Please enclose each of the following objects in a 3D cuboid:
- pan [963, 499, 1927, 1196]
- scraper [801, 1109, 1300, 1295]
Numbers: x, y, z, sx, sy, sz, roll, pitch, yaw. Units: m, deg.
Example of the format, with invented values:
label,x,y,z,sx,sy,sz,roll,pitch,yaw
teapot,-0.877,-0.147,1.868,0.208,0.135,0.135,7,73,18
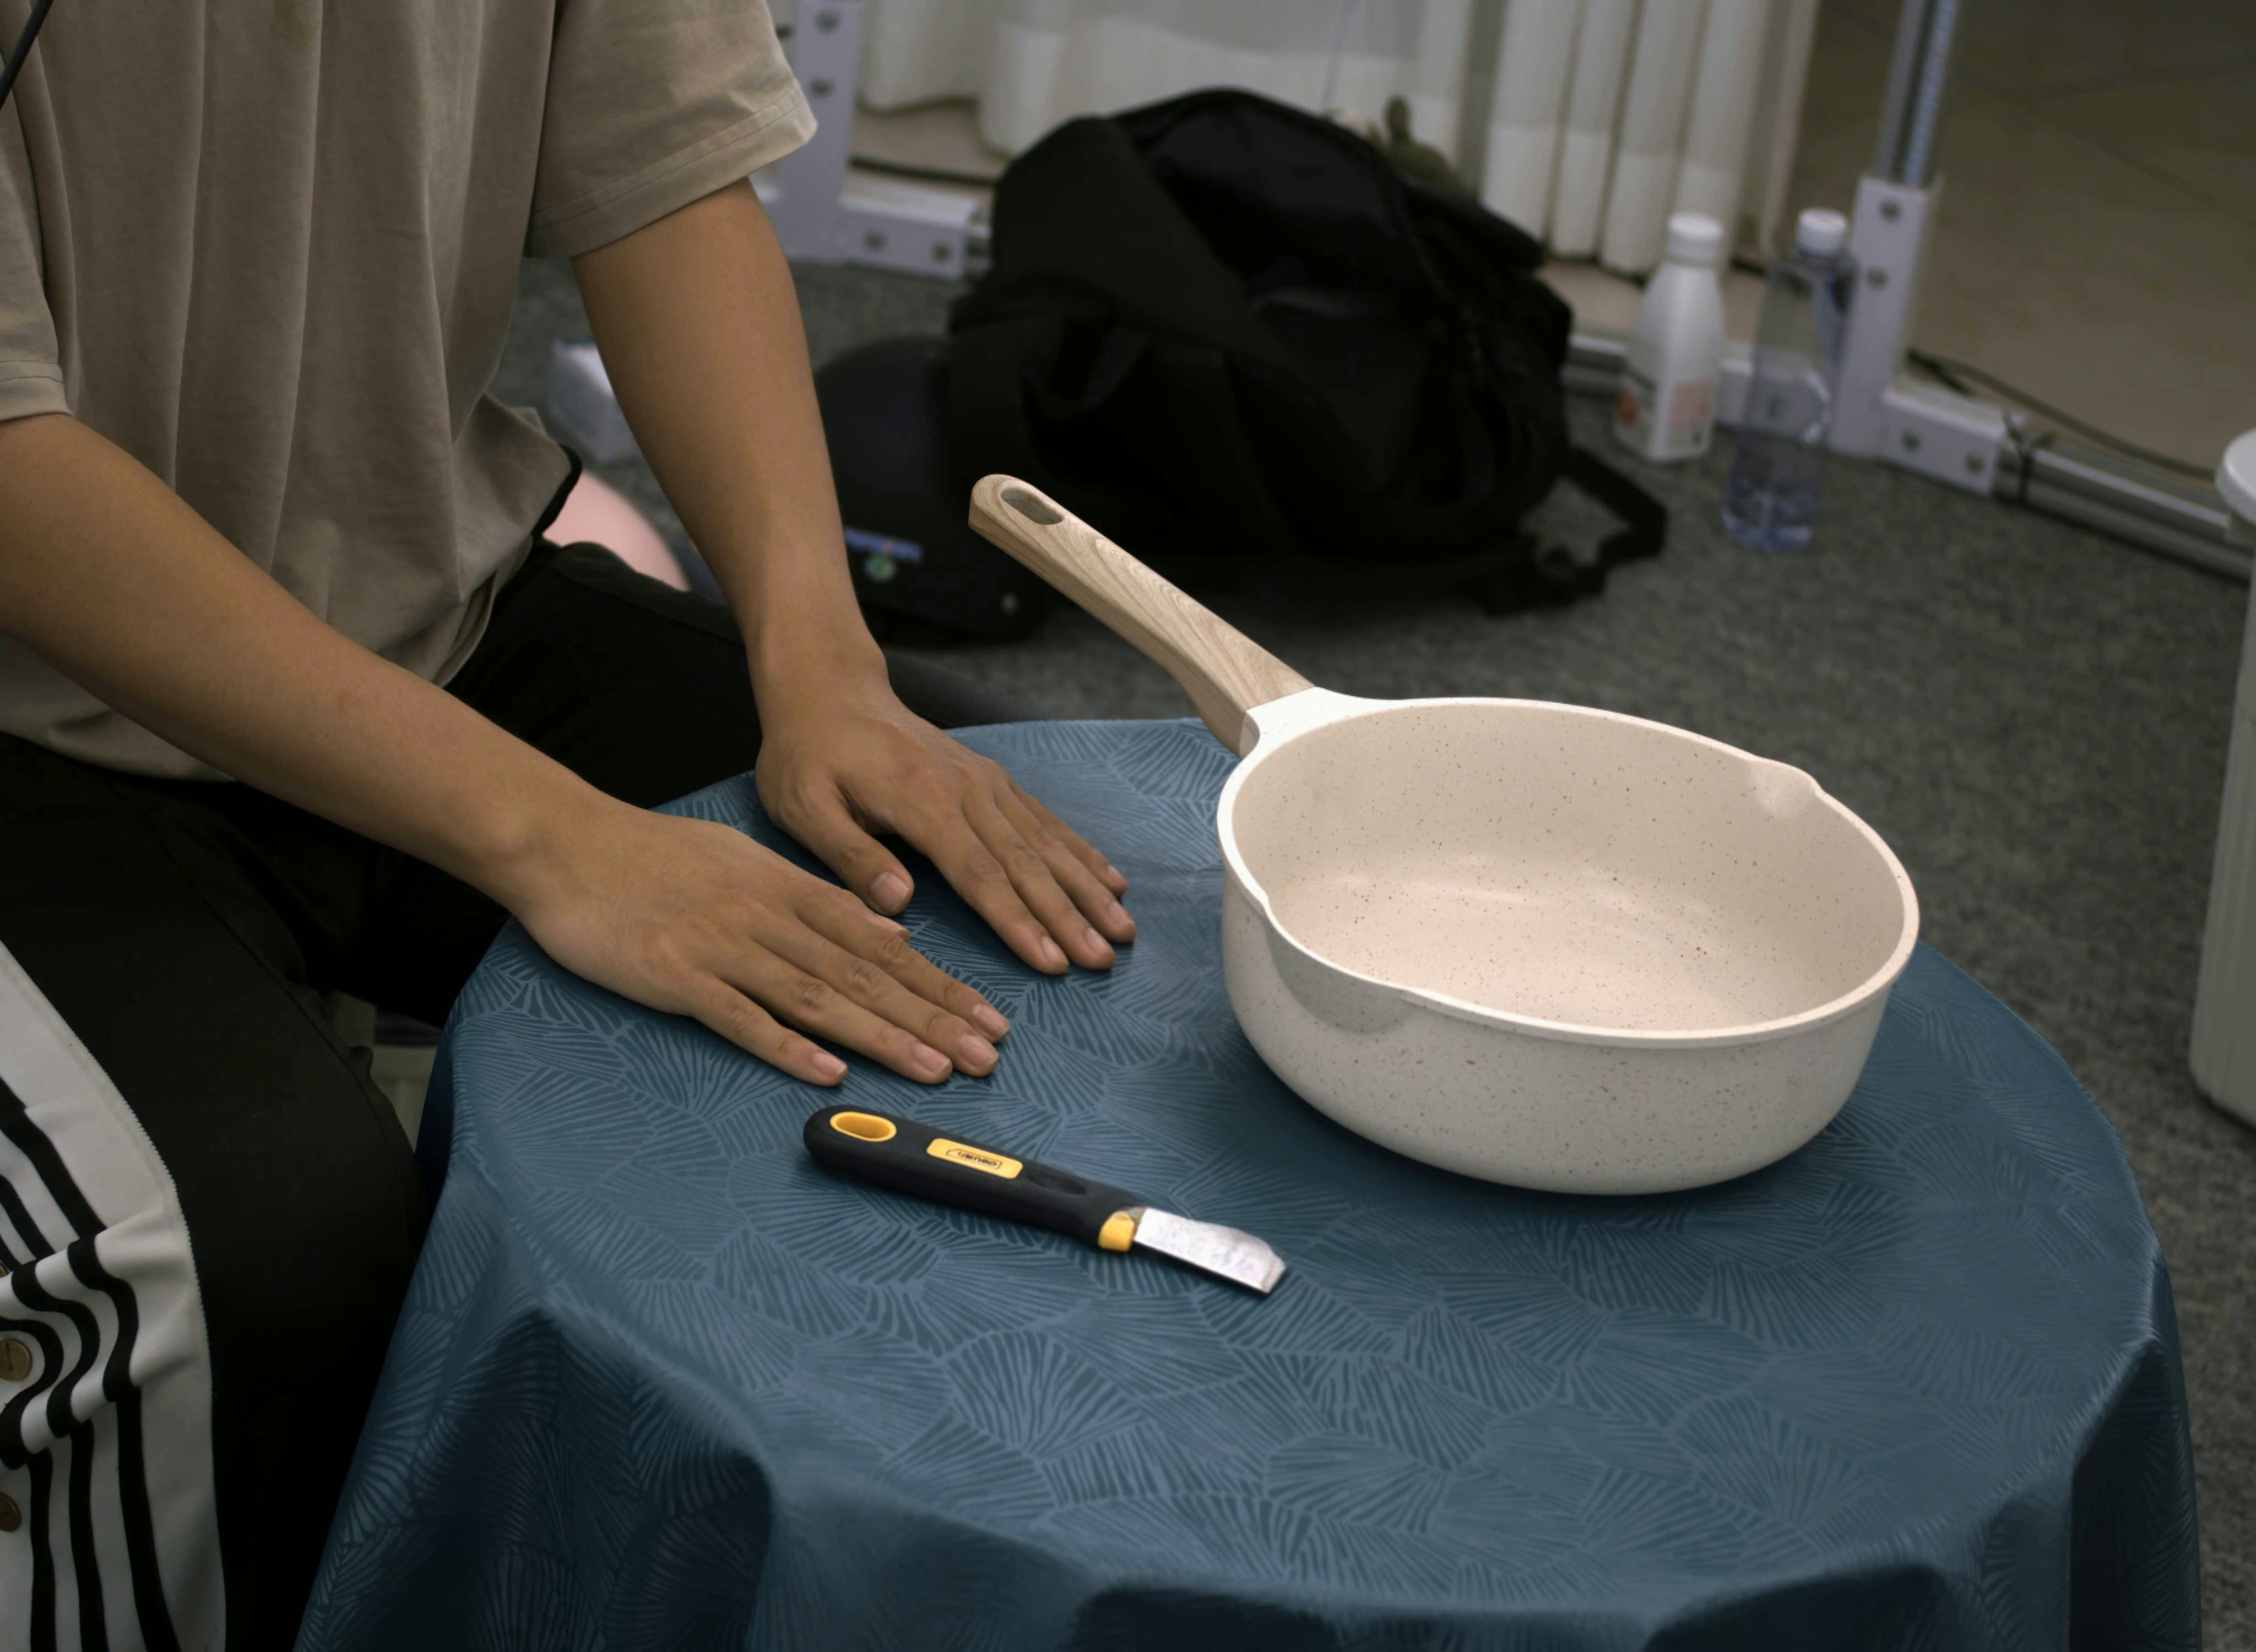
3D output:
label,x,y,z,sx,sy,sz,roll,pitch,yaw
pan,0.092,0.003,1.959,0.262,0.101,0.438,-22,39,-39
scraper,-0.028,0.125,1.778,0.171,0.015,0.039,15,32,10
